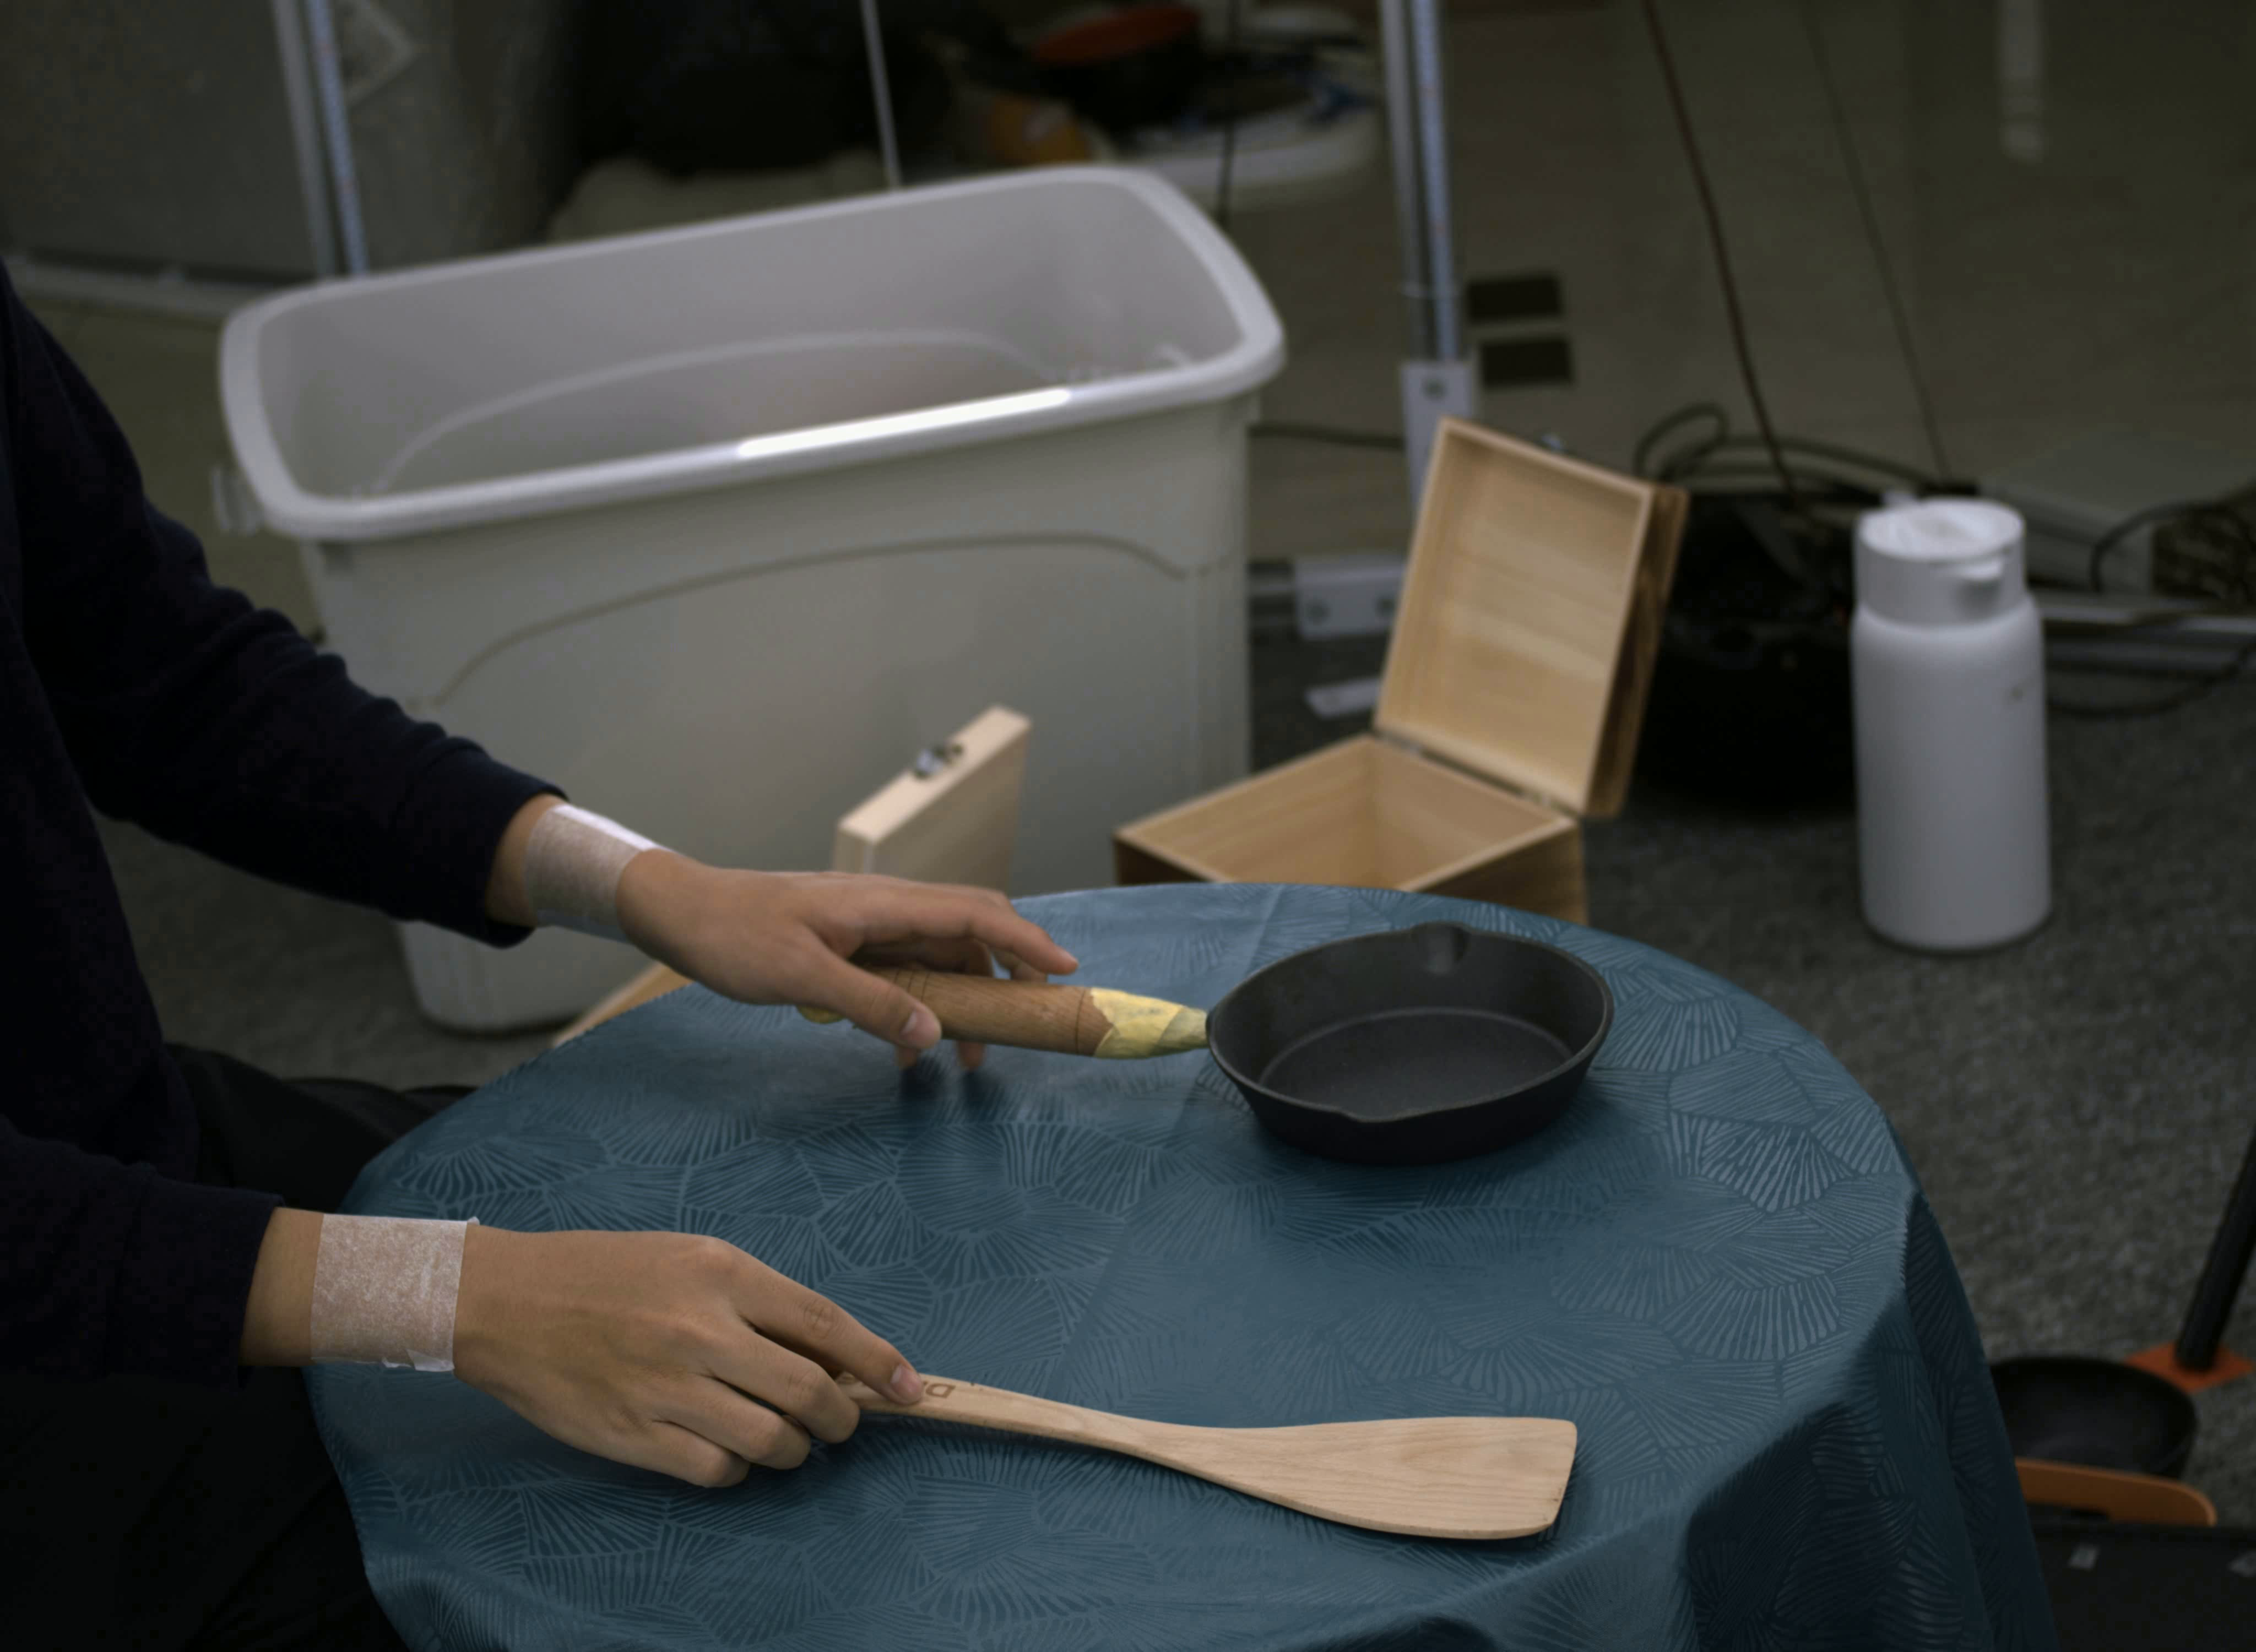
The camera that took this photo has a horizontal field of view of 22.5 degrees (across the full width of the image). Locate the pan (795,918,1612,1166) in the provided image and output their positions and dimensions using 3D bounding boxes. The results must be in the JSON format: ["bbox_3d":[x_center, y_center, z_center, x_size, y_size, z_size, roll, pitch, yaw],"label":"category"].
[{"bbox_3d":[0.028,0.079,2.208,0.323,0.050,0.166,2,26,14],"label":"pan"}]

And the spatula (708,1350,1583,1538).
[{"bbox_3d":[0.003,0.207,1.975,0.326,0.017,0.079,7,25,20],"label":"spatula"}]
